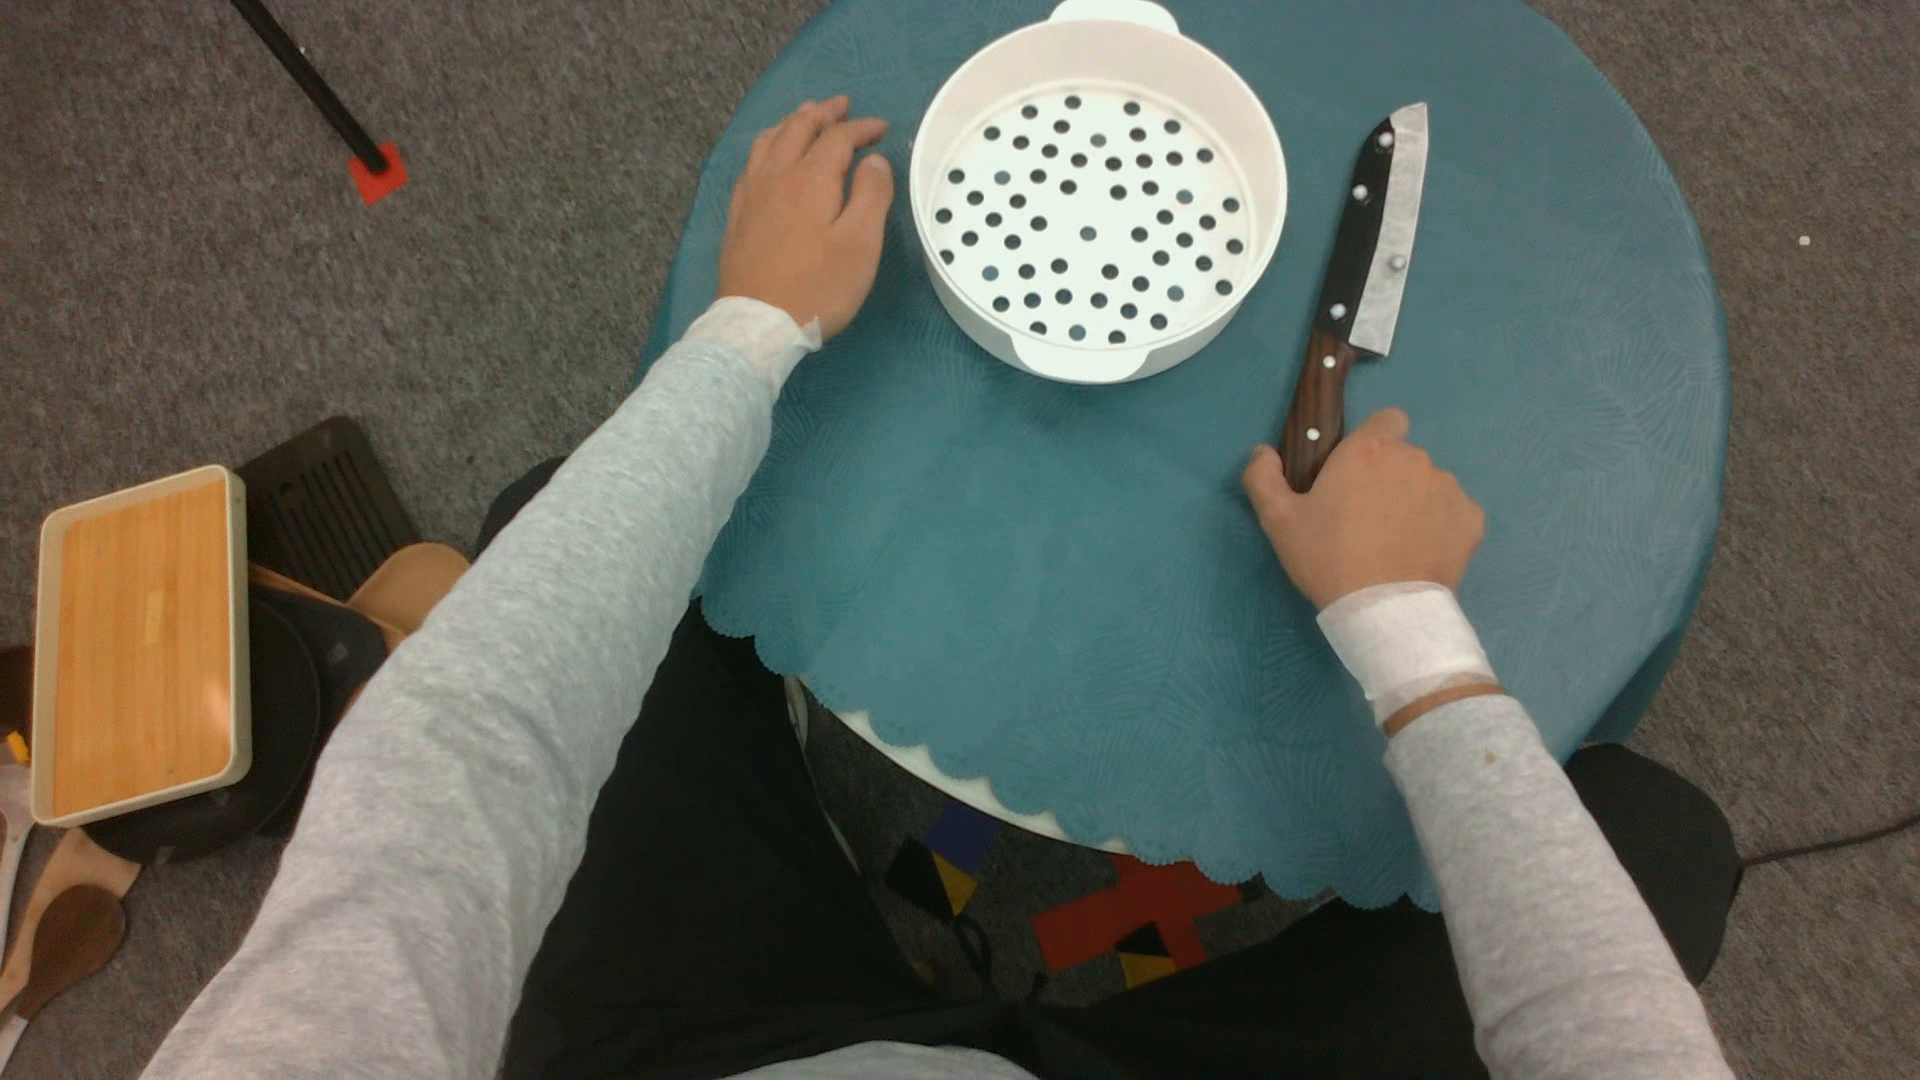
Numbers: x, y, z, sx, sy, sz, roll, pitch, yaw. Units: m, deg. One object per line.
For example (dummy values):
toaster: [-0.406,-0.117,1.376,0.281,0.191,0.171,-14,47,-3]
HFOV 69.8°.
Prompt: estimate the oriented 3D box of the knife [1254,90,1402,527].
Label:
knife: [0.211,-0.137,0.777,0.050,0.020,0.290,19,73,-1]

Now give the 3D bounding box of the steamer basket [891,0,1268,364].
steamer basket: [0.064,-0.196,0.764,0.202,0.069,0.231,7,76,2]
